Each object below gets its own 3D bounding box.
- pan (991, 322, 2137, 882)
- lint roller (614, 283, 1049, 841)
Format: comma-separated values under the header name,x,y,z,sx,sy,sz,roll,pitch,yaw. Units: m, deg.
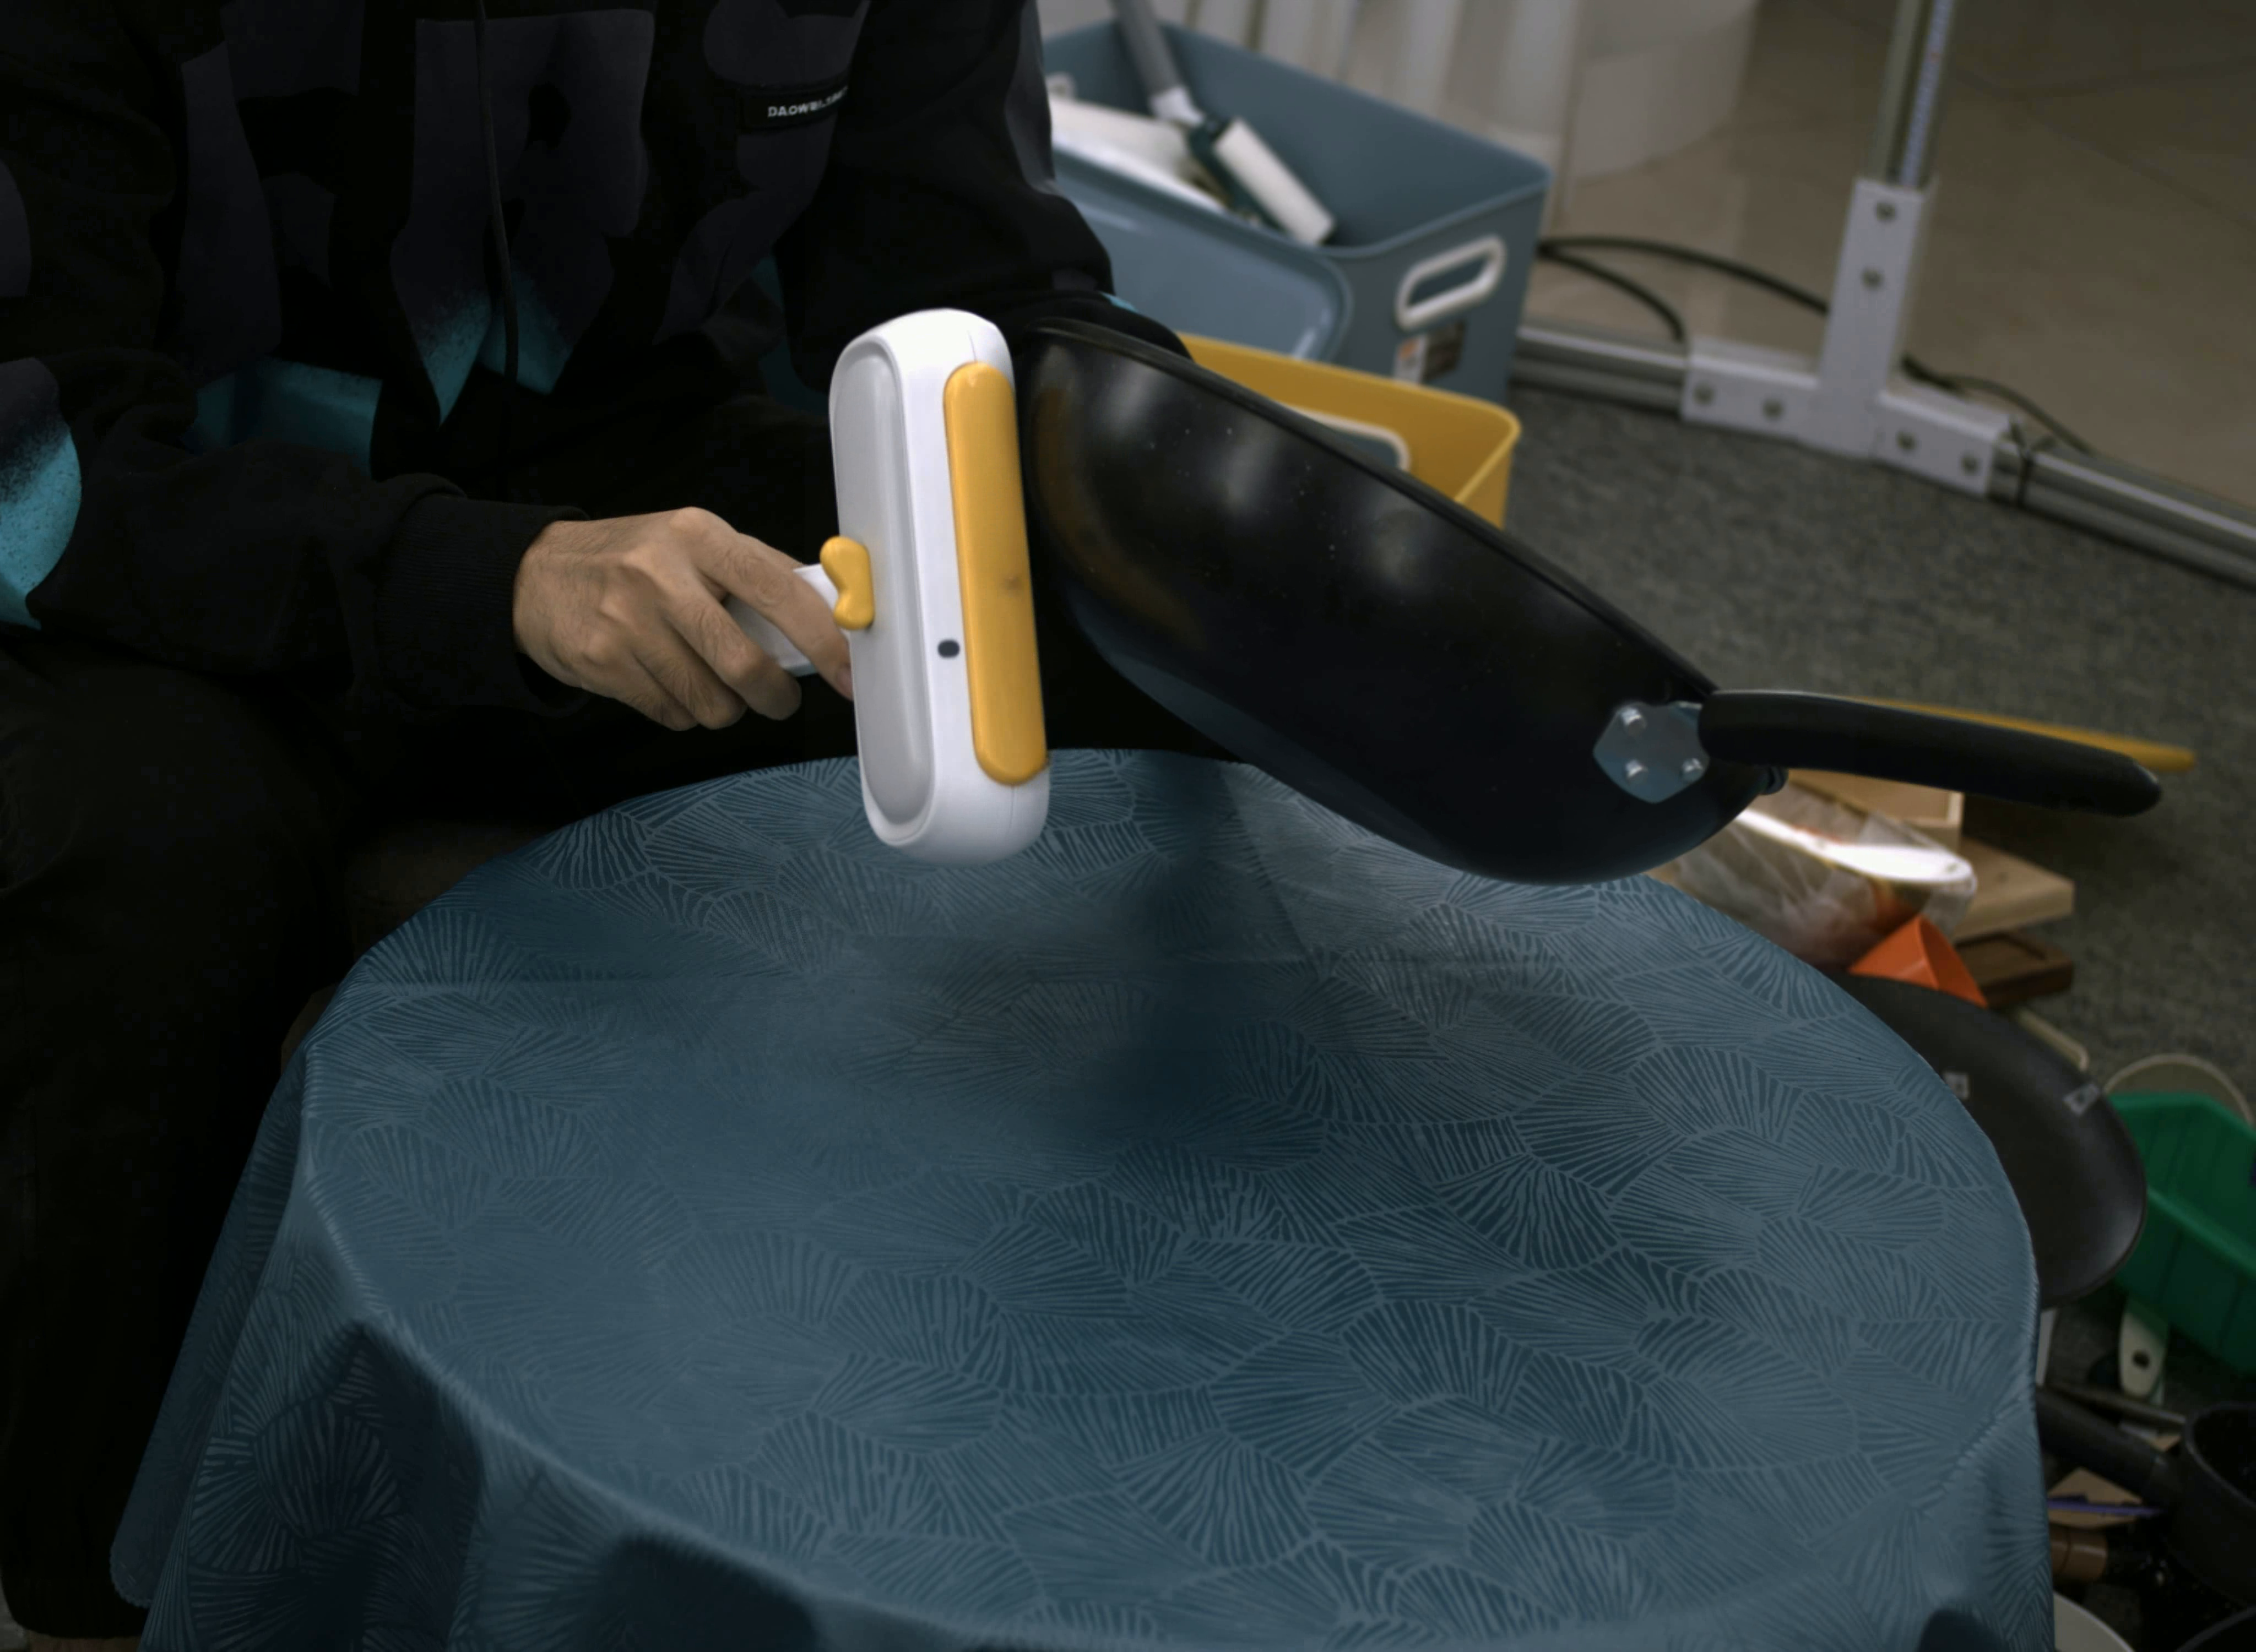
name,x,y,z,sx,sy,sz,roll,pitch,yaw
pan,0.128,-0.044,1.795,0.480,0.112,0.307,26,-5,45
lint roller,-0.107,-0.077,1.867,0.073,0.194,0.193,-5,-10,-39
